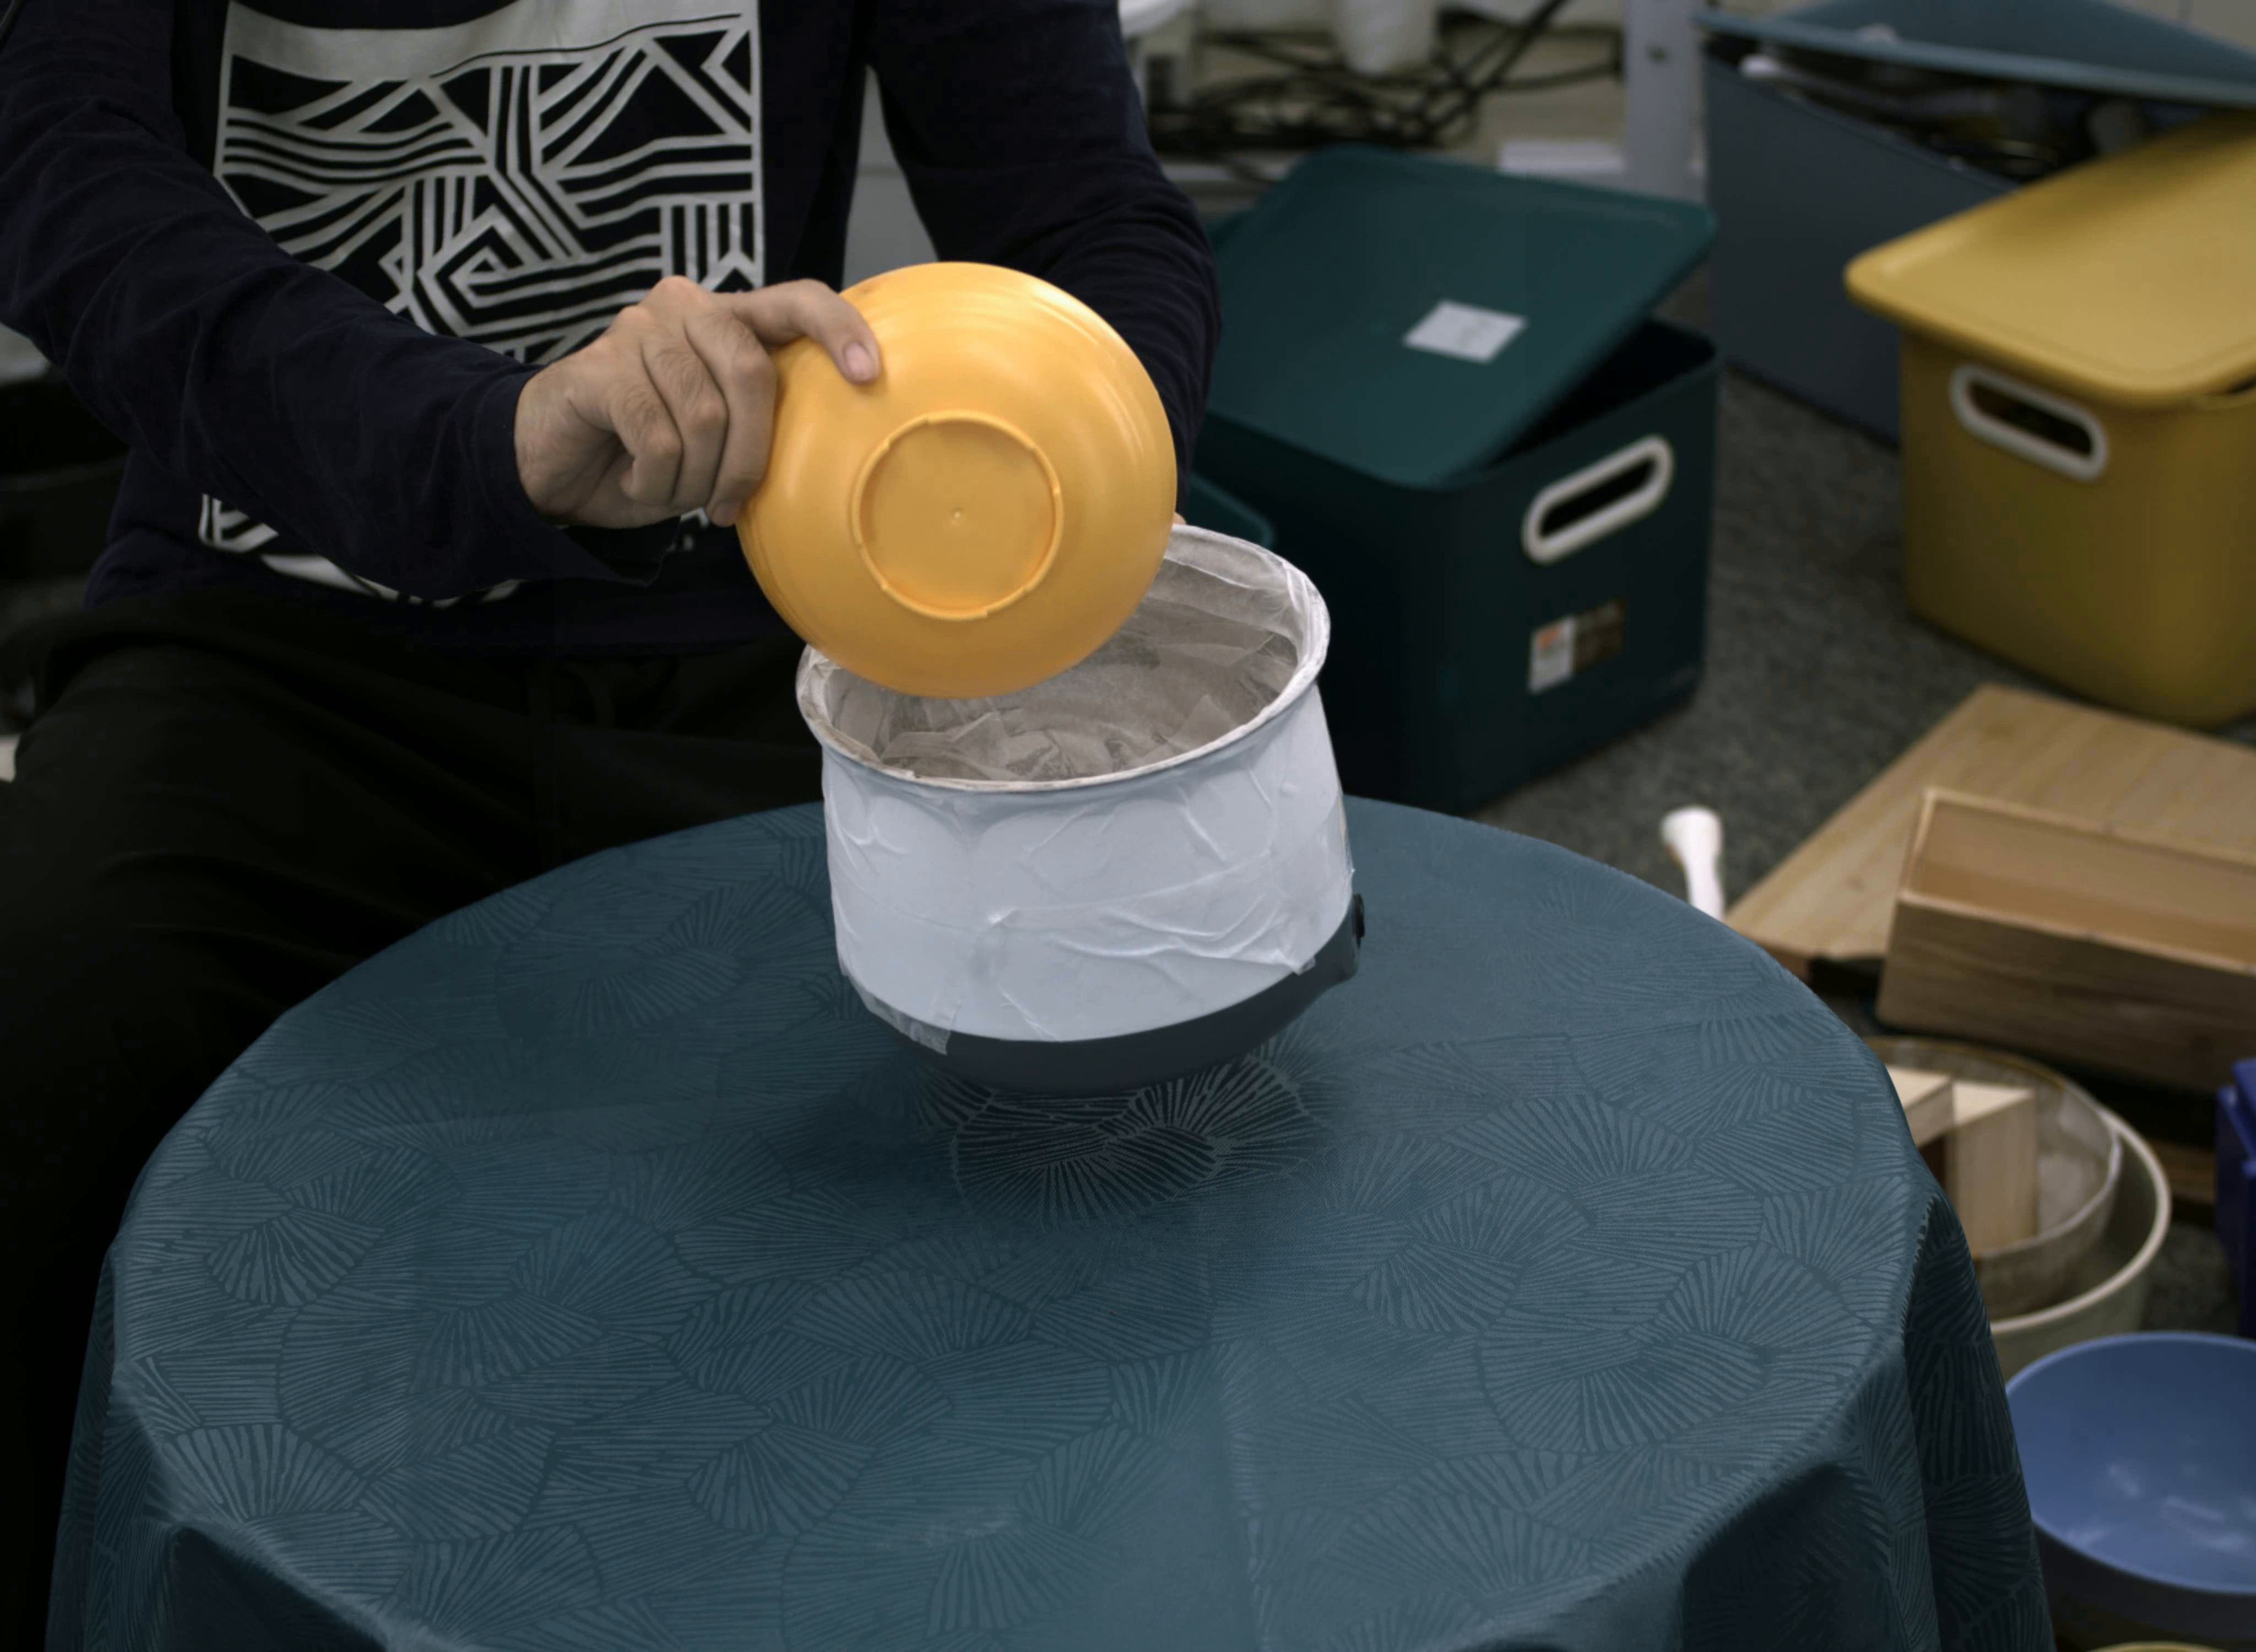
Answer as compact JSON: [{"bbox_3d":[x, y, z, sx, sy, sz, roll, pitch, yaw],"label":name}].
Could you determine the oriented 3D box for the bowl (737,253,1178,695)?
[{"bbox_3d":[-0.052,-0.106,1.795,0.145,0.145,0.060,-5,13,-4],"label":"bowl"}]

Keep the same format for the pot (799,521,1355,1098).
[{"bbox_3d":[-0.016,-0.019,1.895,0.178,0.135,0.237,-3,31,1],"label":"pot"}]
